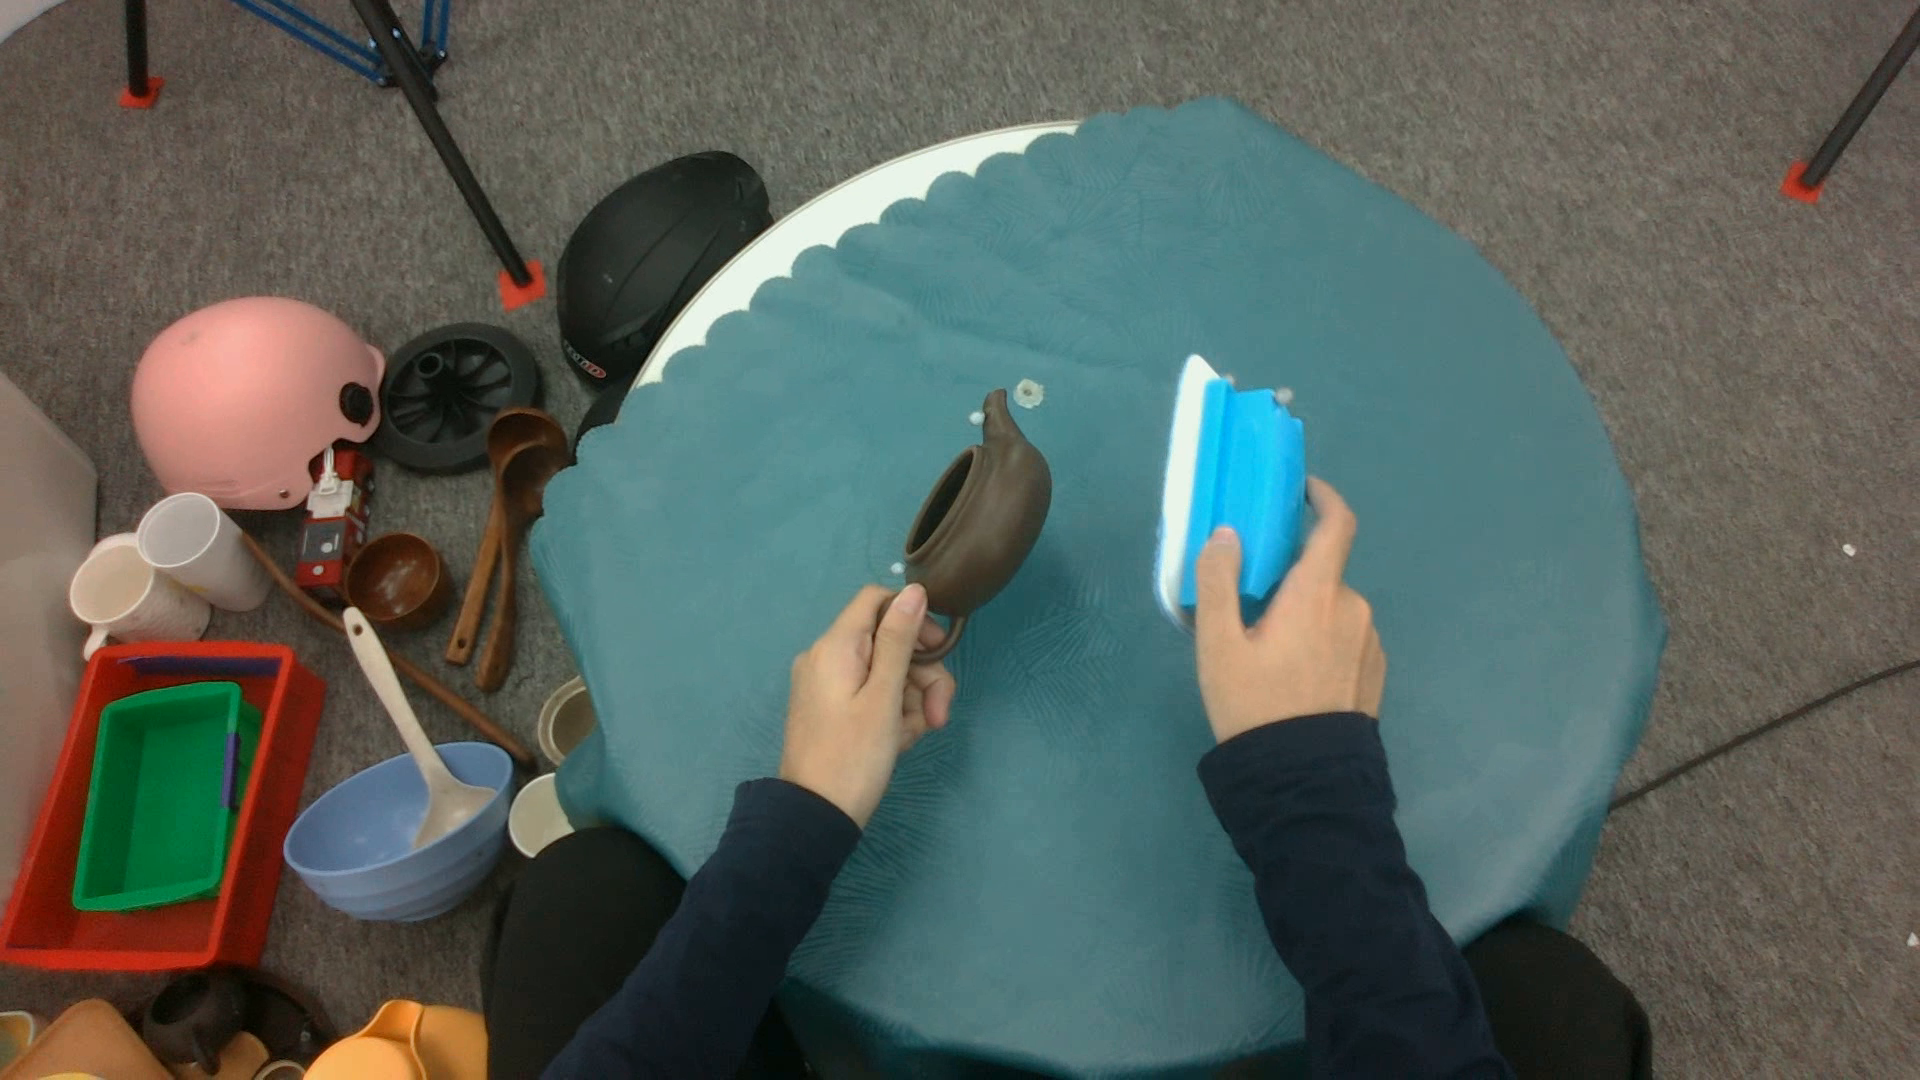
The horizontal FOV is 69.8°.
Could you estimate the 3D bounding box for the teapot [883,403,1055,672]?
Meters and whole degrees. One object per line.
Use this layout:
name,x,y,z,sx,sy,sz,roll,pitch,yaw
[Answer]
teapot,0.007,0.001,0.724,0.054,0.102,0.154,33,66,-13

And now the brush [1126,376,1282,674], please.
brush,0.129,-0.011,0.678,0.056,0.084,0.144,-12,57,41
